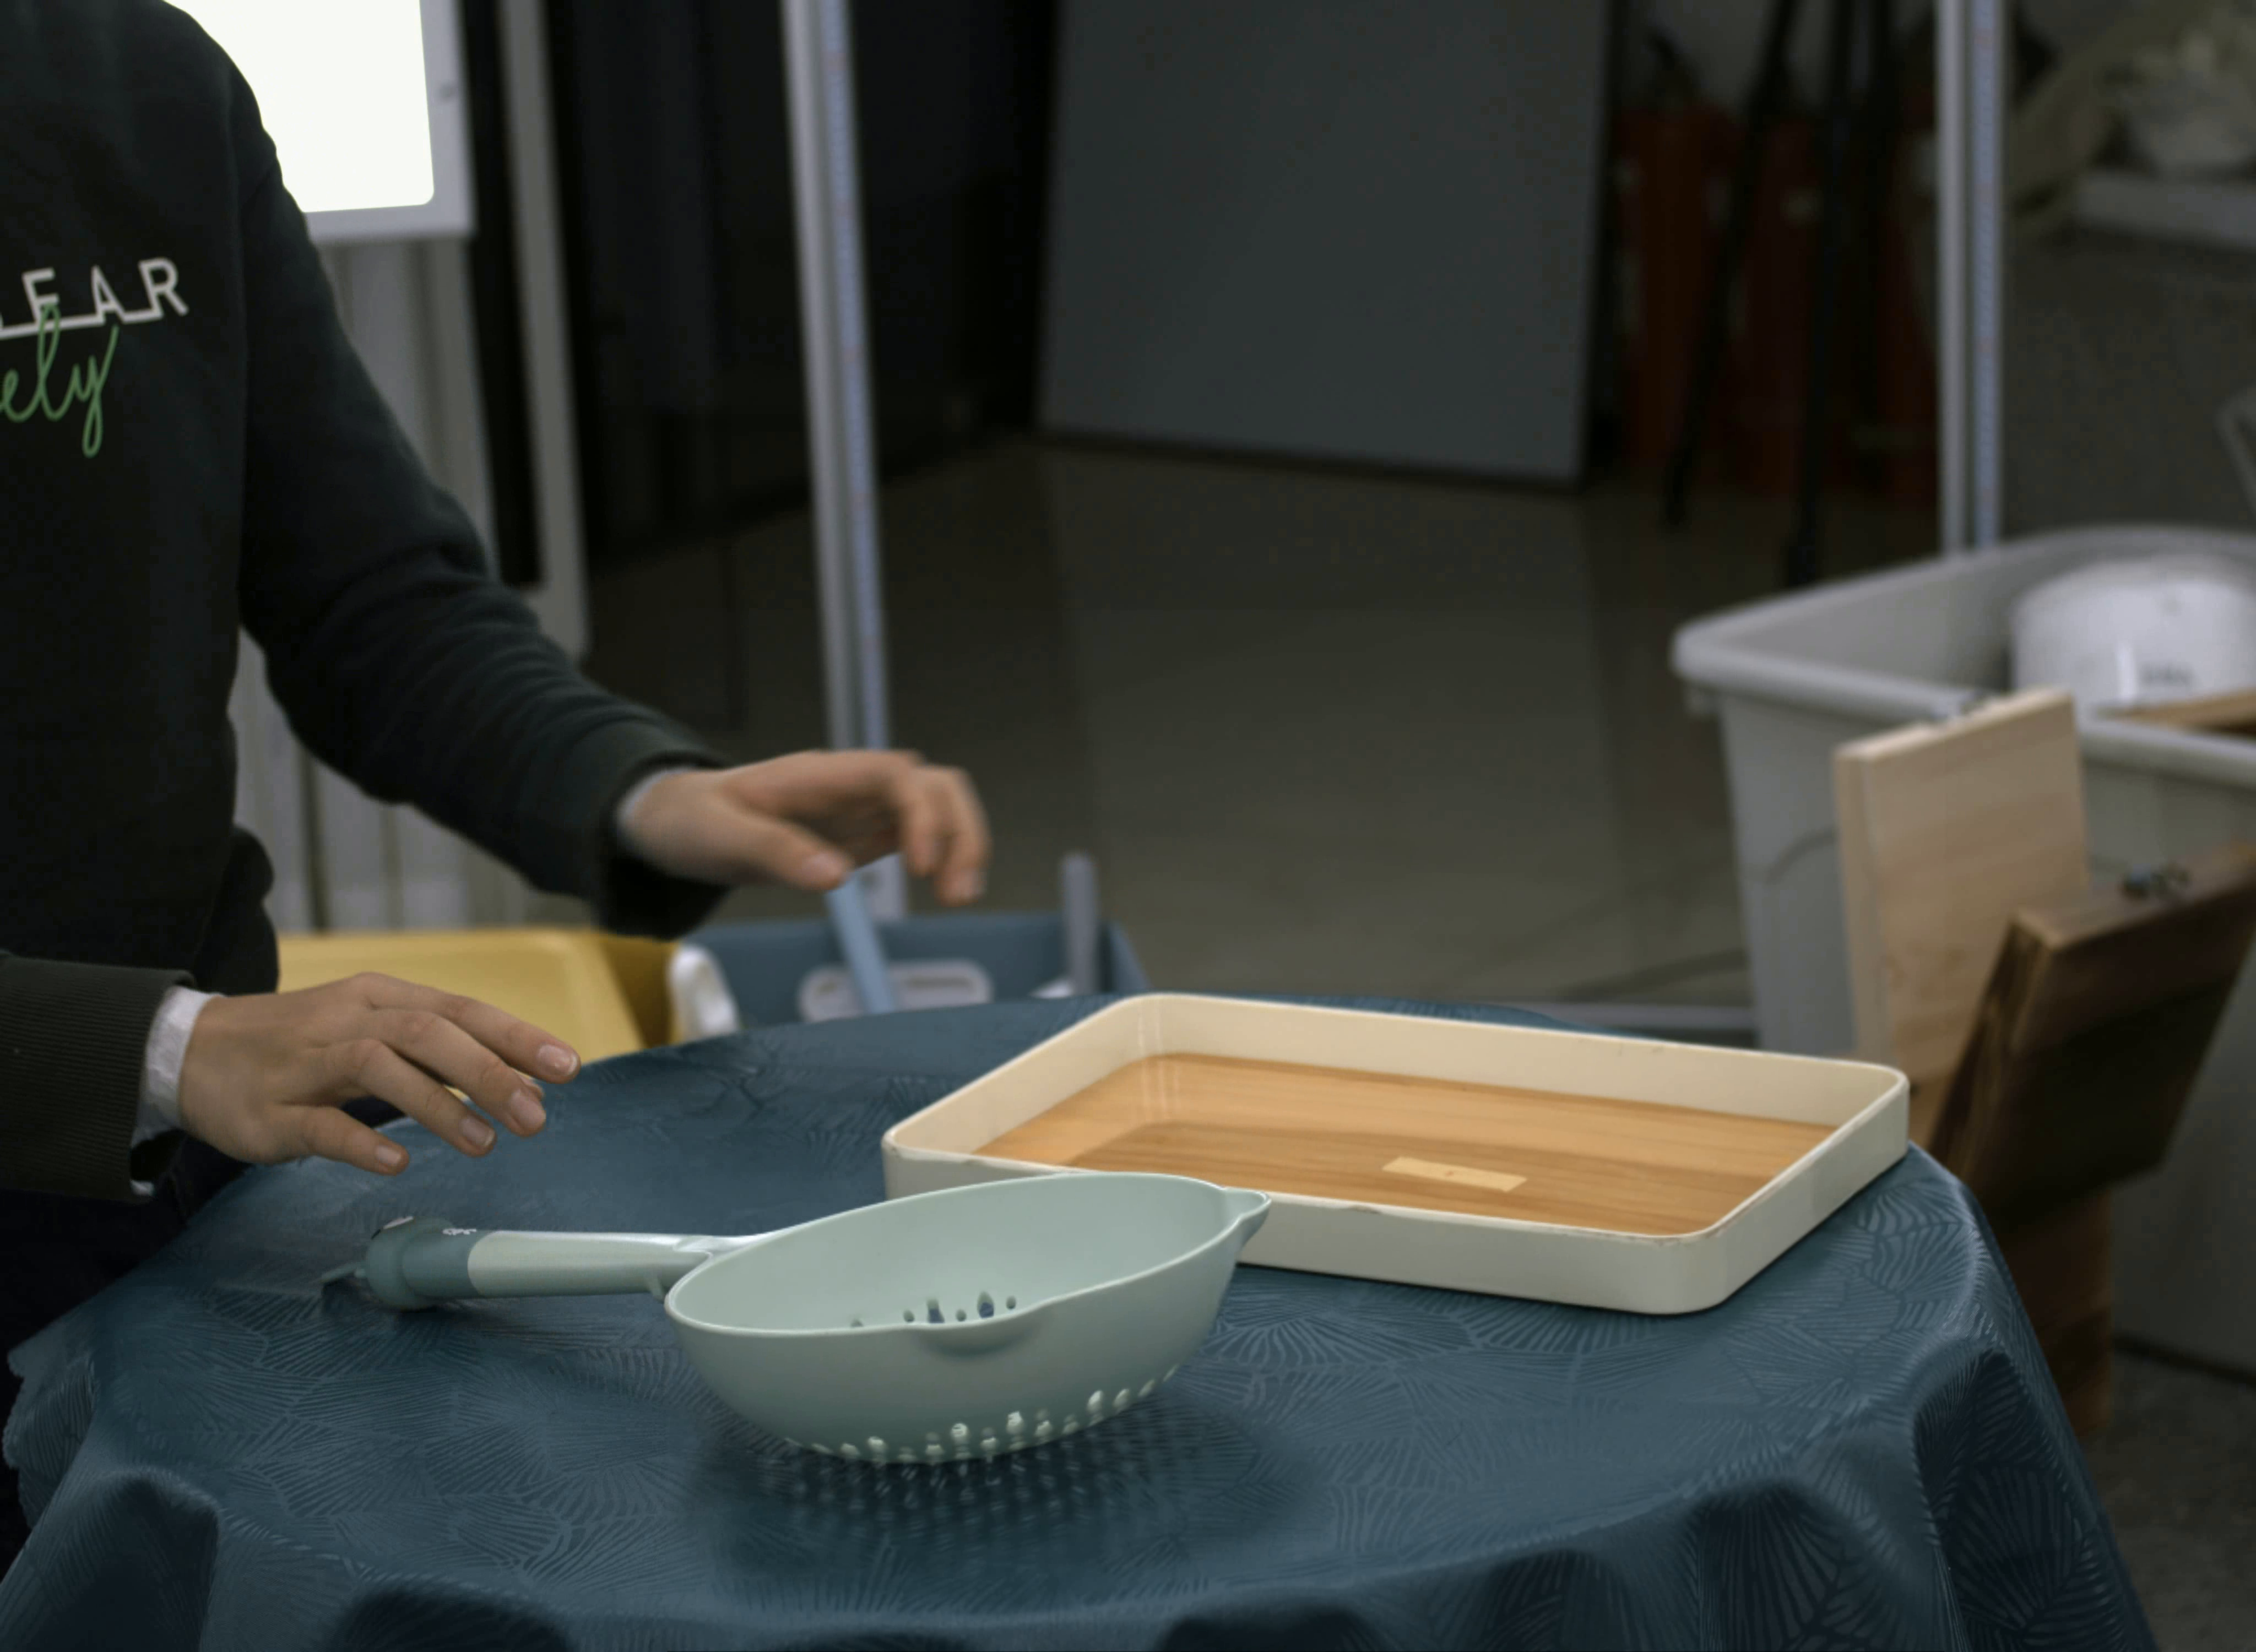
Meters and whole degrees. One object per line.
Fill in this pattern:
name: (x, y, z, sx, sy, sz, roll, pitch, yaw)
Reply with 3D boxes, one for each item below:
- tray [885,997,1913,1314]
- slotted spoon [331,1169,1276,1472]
tray: (0.089, 0.105, 1.759, 0.301, 0.028, 0.188, 5, 16, 30)
slotted spoon: (-0.119, 0.136, 1.609, 0.362, 0.076, 0.166, 8, 17, 41)
